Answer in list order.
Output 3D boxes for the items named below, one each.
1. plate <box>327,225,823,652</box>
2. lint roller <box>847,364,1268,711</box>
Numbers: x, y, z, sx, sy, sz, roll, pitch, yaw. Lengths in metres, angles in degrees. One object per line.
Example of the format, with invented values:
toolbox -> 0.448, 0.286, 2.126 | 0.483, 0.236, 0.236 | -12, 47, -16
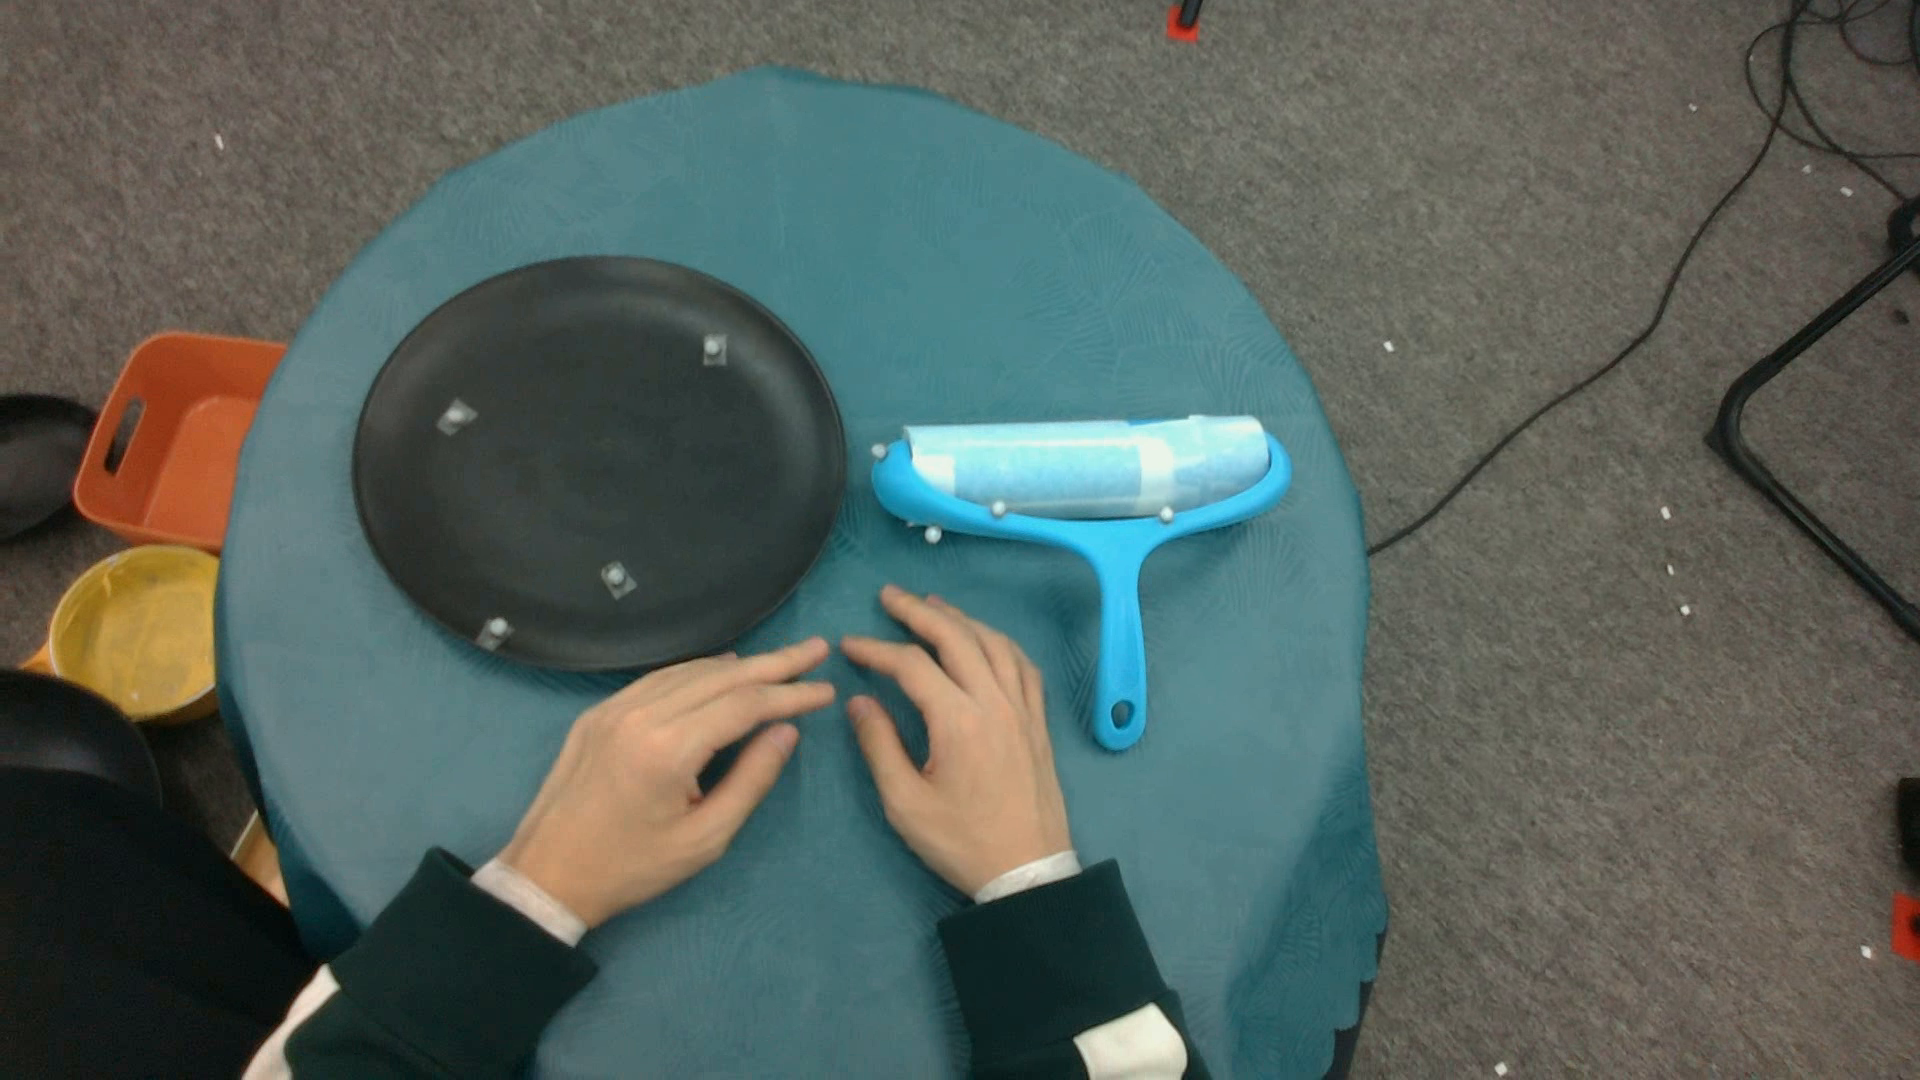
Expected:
plate -> -0.193, -0.055, 0.709 | 0.244, 0.023, 0.245 | 4, 66, -8
lint roller -> 0.065, -0.006, 0.716 | 0.229, 0.067, 0.181 | -7, 69, -14
